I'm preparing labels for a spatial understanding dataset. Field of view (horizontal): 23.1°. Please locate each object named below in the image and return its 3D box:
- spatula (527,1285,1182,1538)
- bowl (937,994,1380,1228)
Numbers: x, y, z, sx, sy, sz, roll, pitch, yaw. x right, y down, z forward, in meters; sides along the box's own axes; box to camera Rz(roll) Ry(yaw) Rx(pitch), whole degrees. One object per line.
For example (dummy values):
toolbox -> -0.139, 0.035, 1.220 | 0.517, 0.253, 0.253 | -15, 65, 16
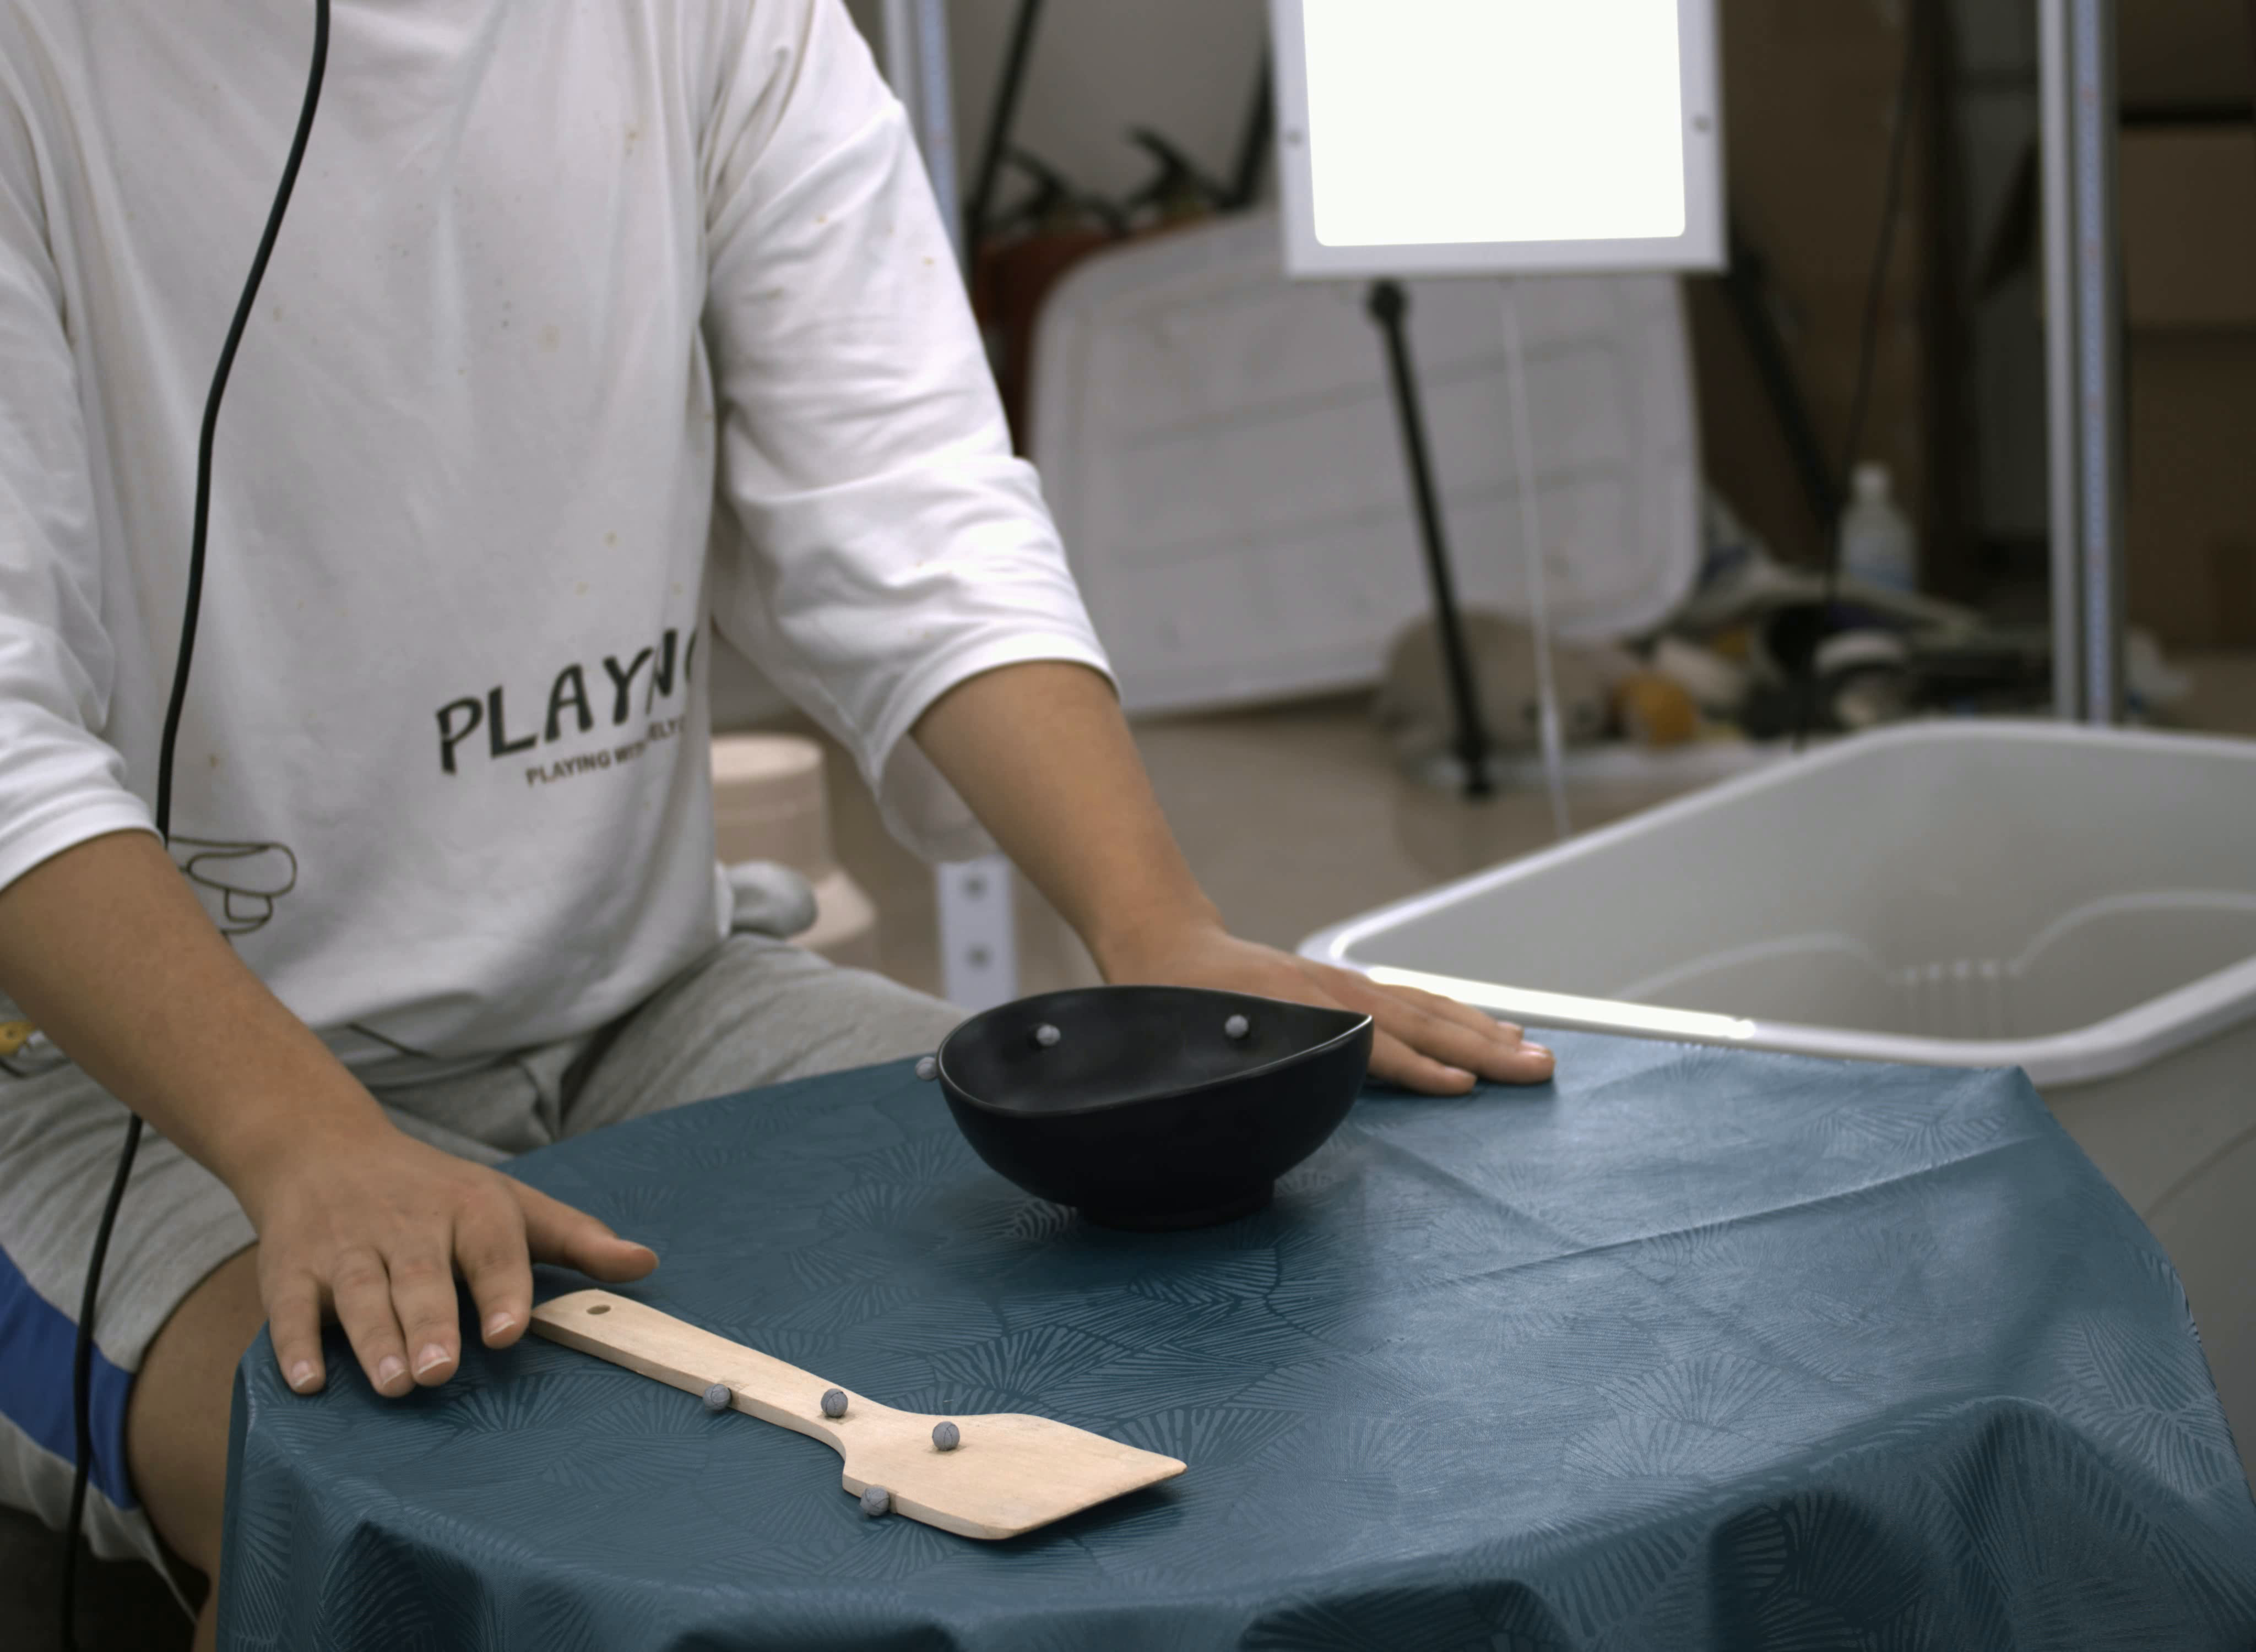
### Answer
spatula -> -0.100, 0.177, 1.704 | 0.070, 0.011, 0.299 | -17, 18, -35
bowl -> 0.013, 0.098, 1.877 | 0.140, 0.067, 0.166 | 6, 15, 40
